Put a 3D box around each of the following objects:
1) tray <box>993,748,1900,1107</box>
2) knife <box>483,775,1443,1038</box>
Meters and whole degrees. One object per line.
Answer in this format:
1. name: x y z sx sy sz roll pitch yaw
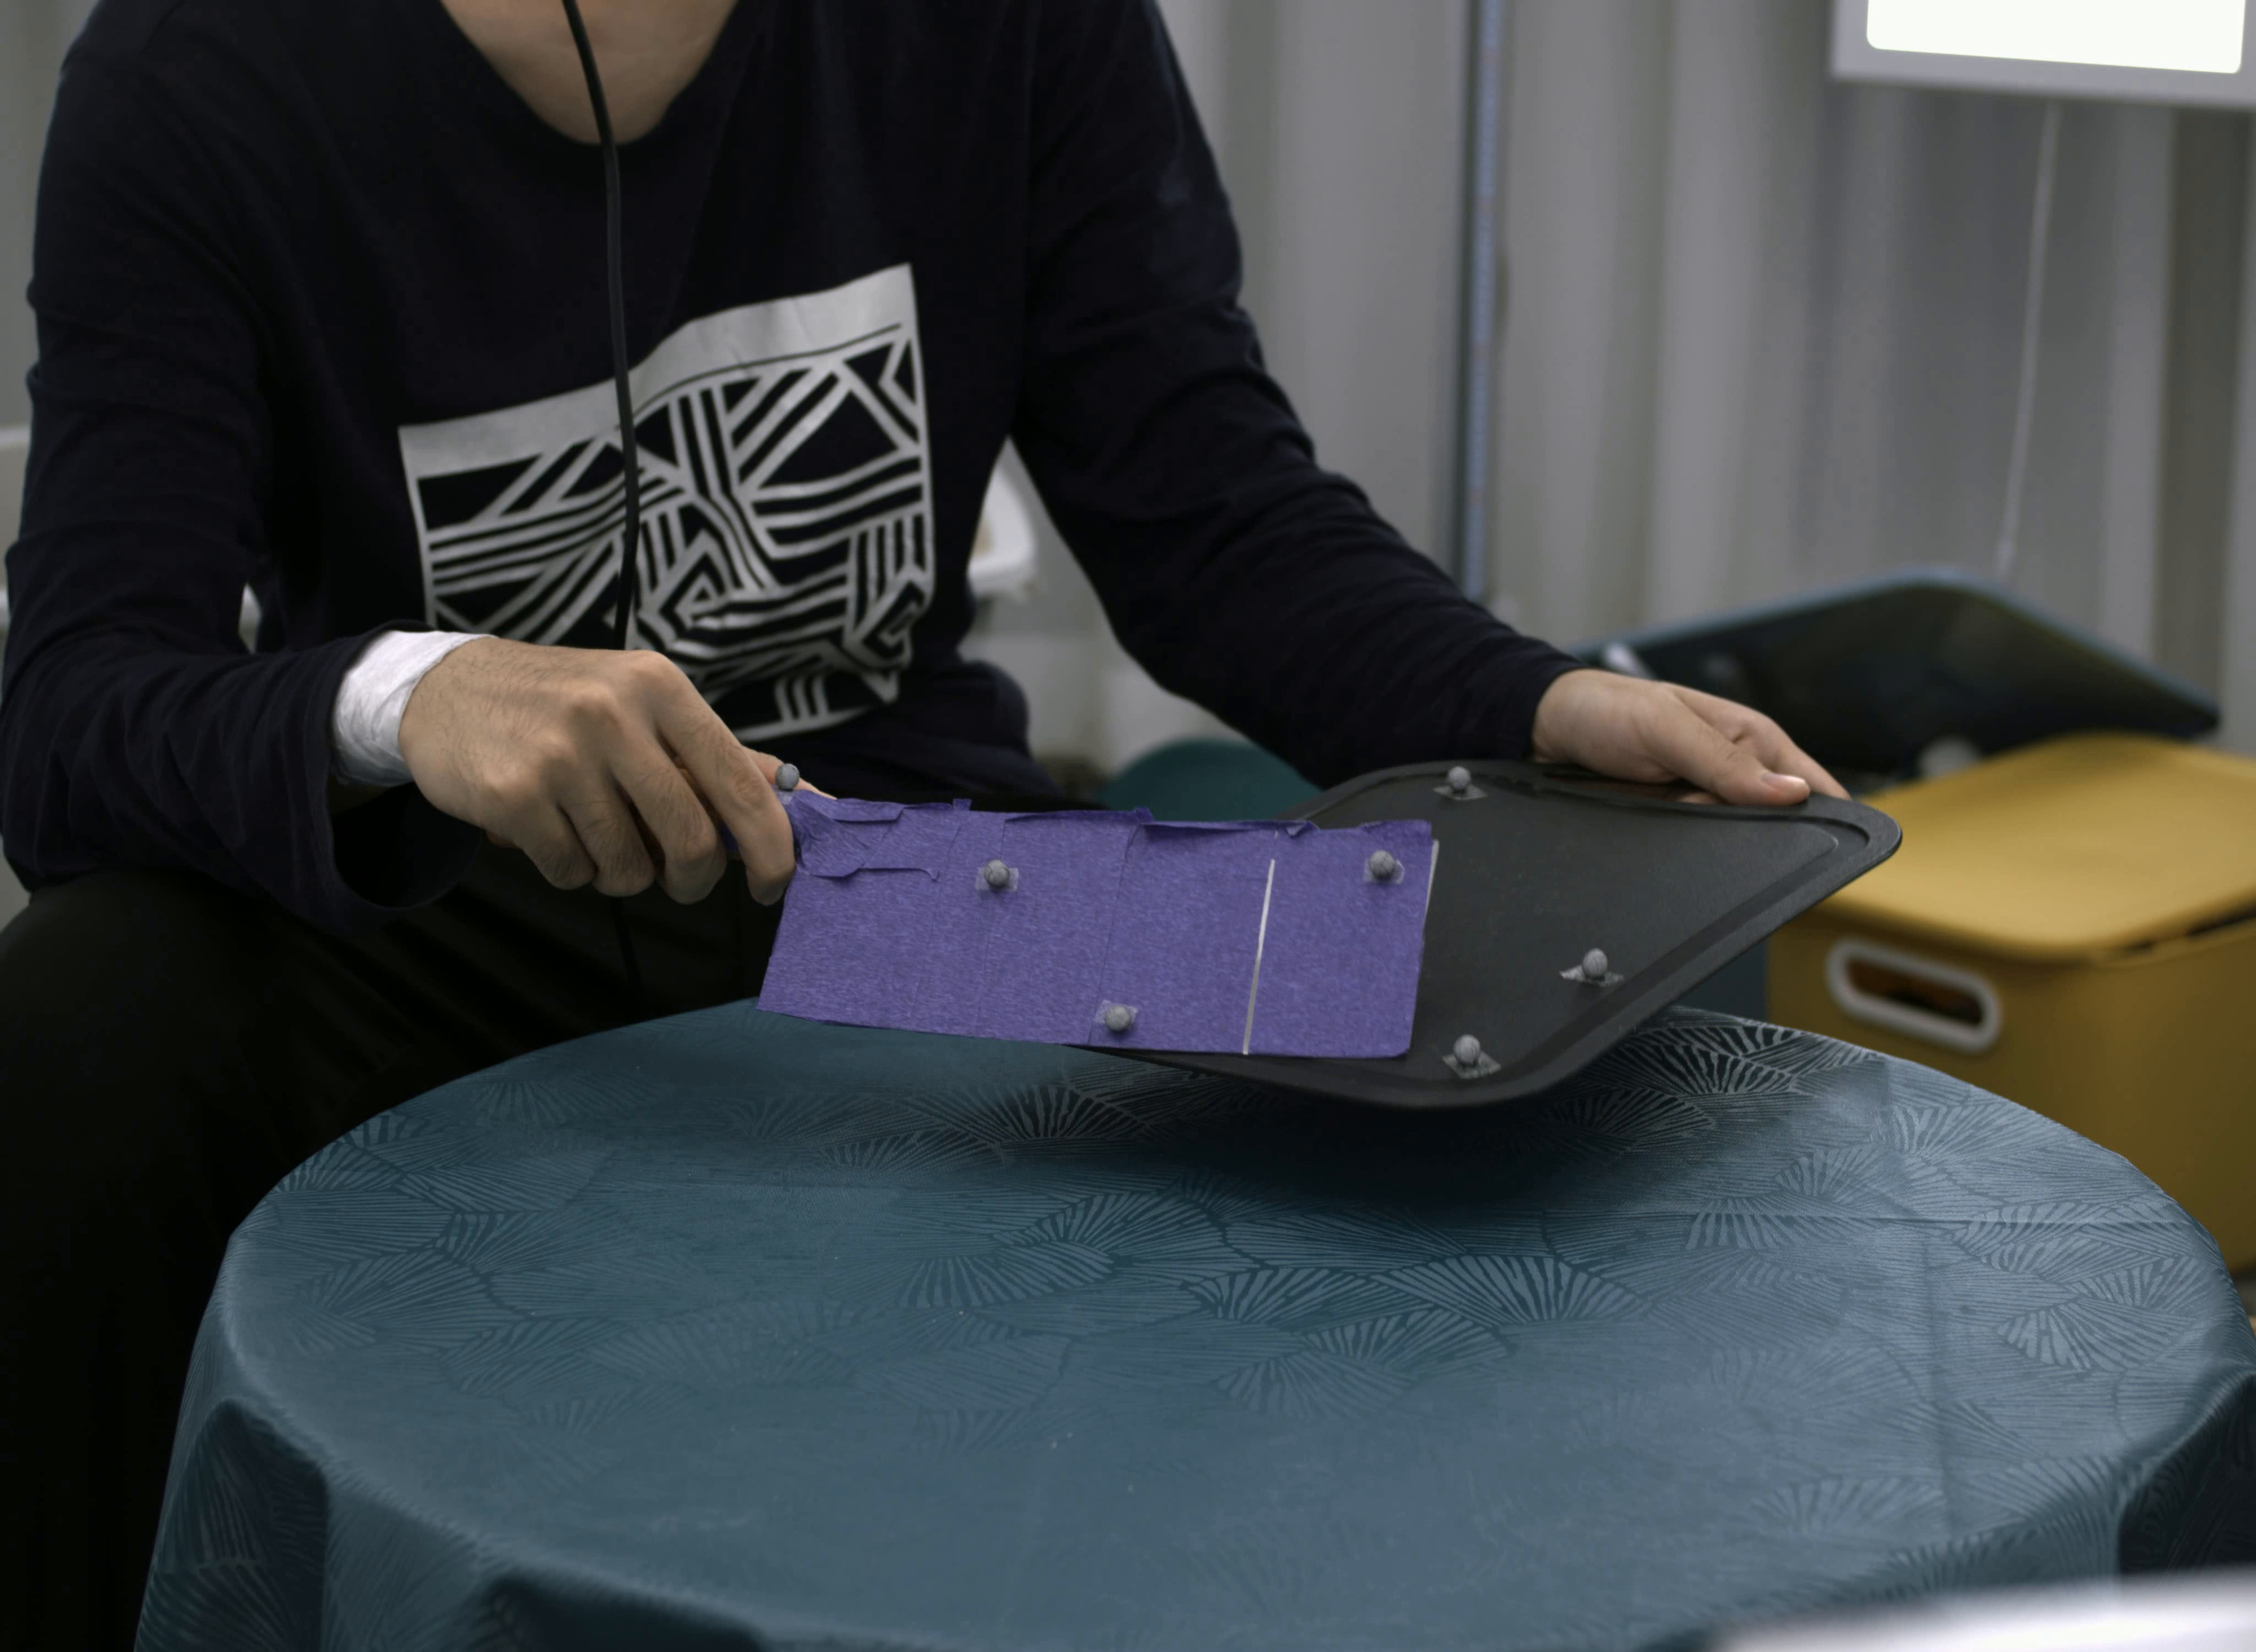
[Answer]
1. tray: 0.113 0.025 1.742 0.208 0.010 0.326 5 22 35
2. knife: -0.059 0.024 1.663 0.313 0.032 0.103 1 51 12
